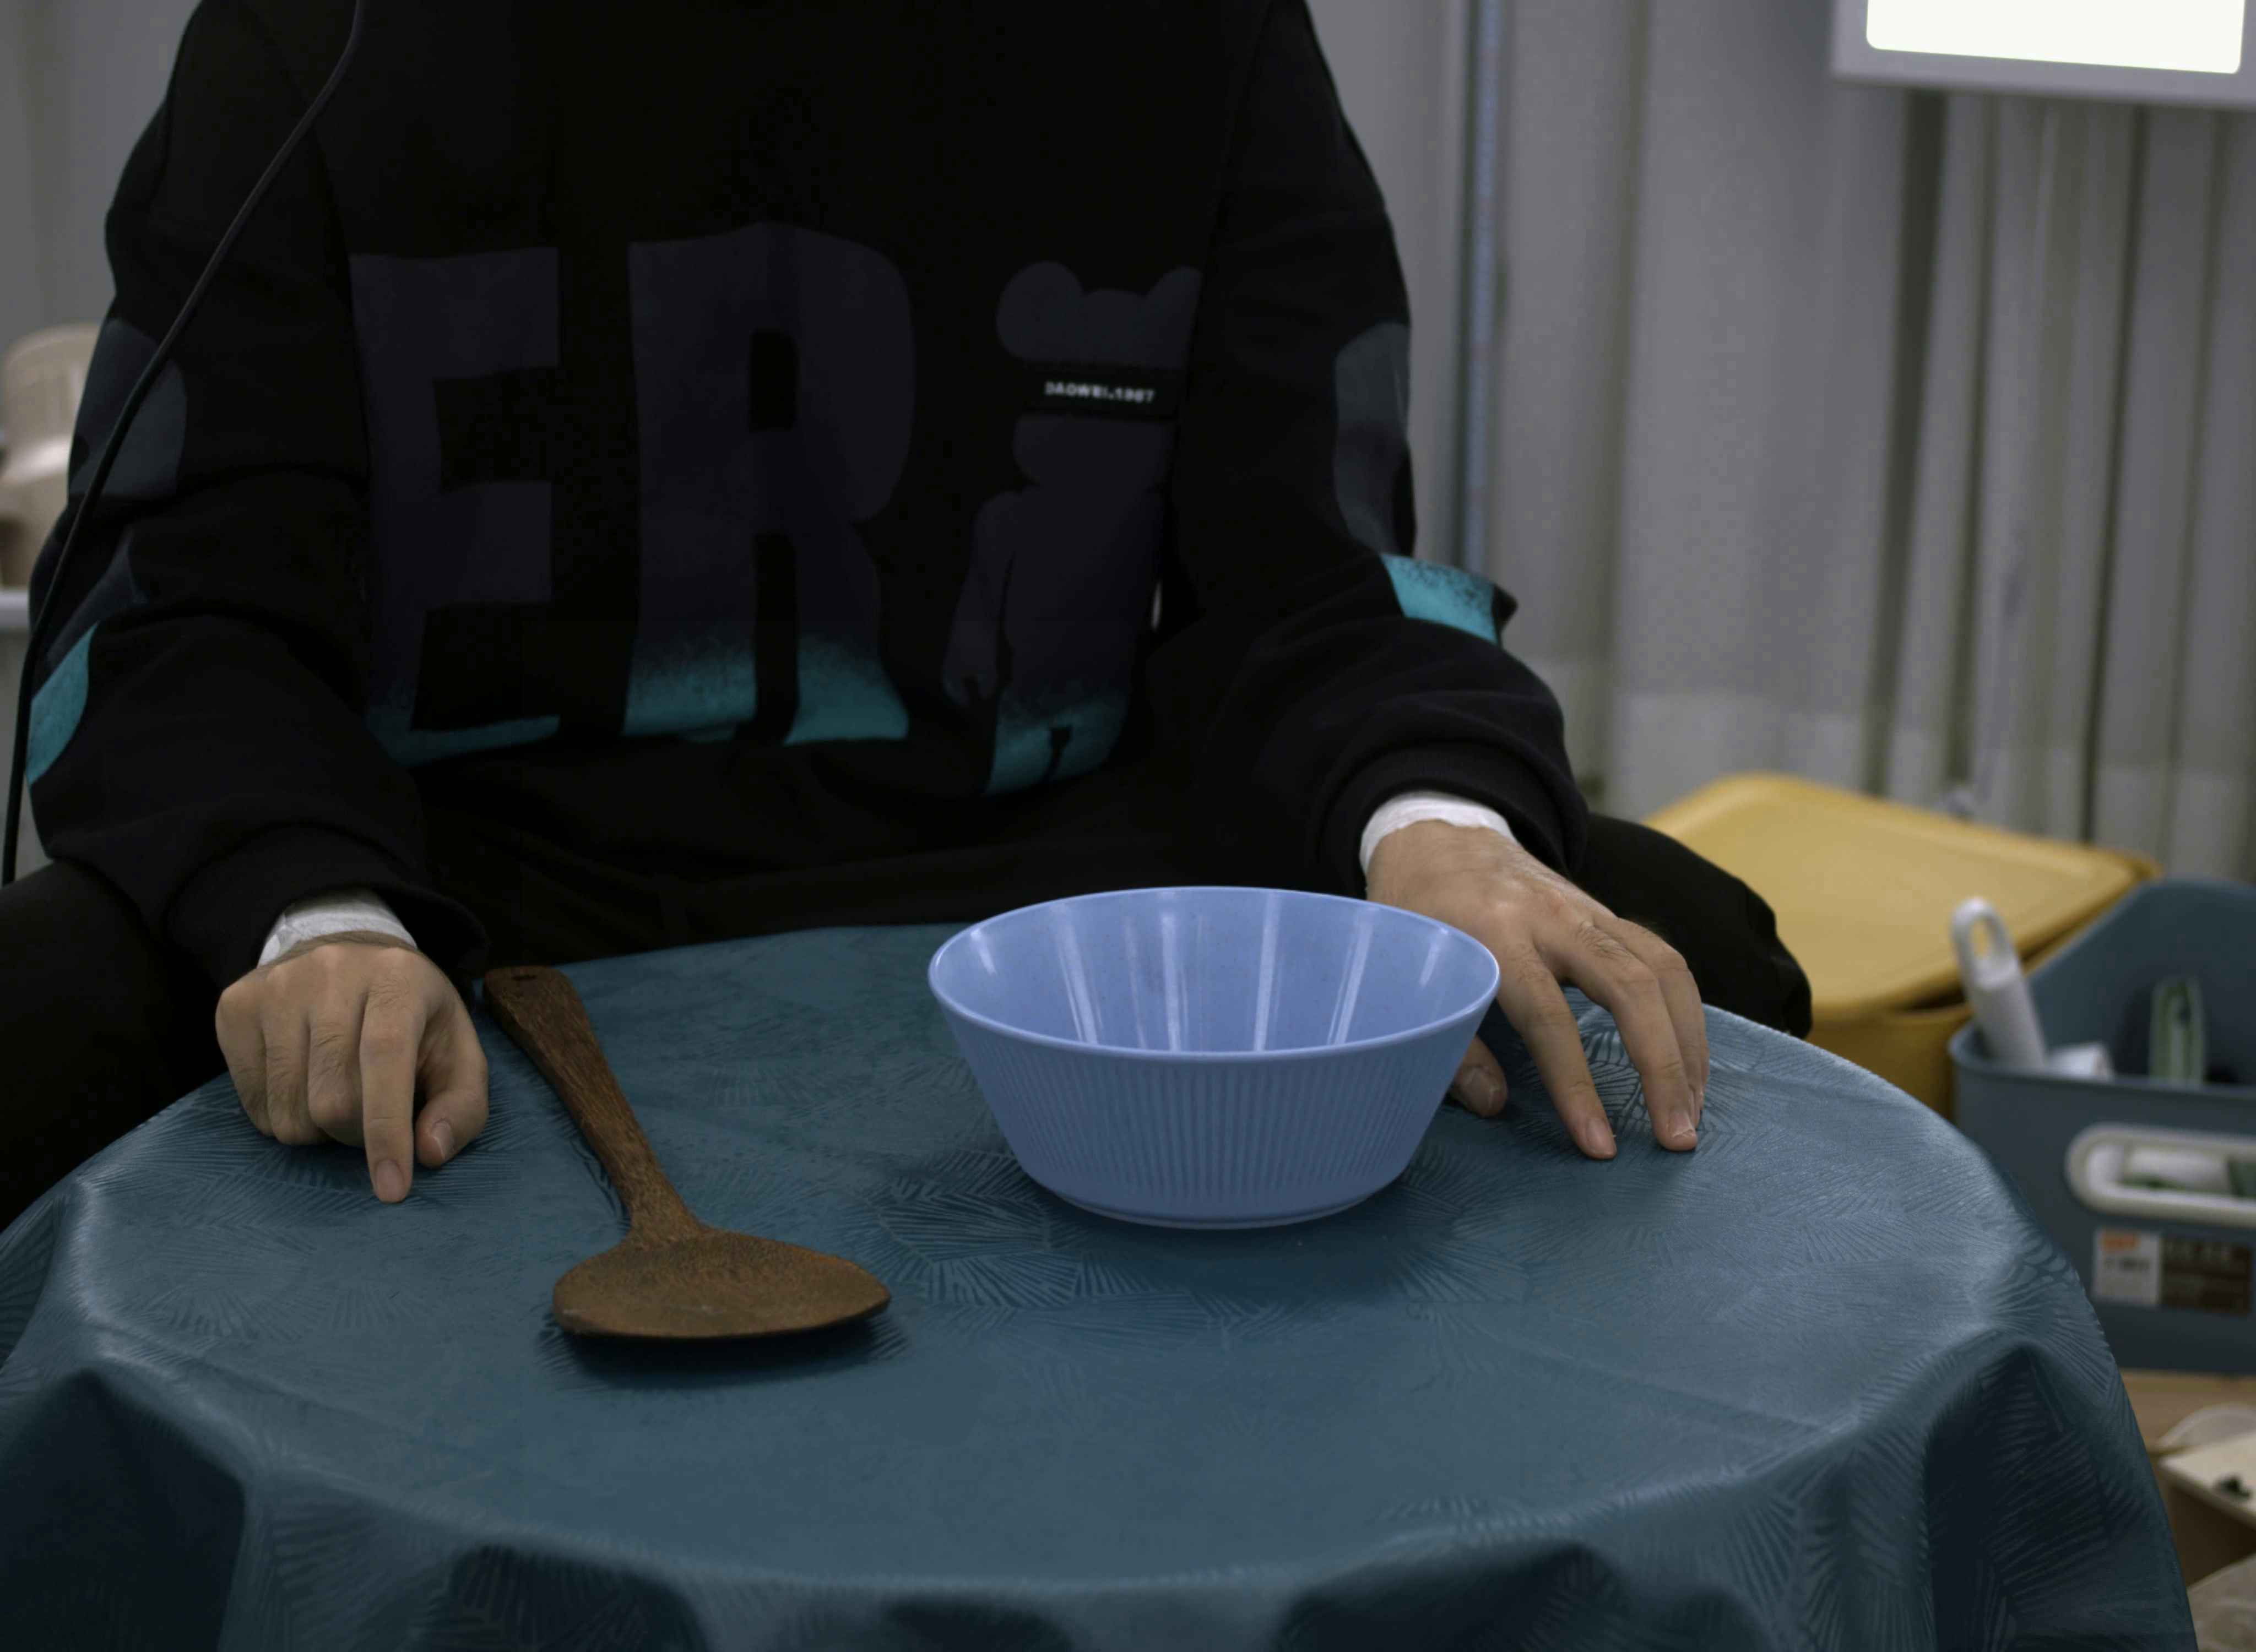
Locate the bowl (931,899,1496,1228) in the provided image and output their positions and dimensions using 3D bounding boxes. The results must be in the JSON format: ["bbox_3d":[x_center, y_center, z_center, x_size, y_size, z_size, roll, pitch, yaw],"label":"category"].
[{"bbox_3d":[0.026,0.075,1.632,0.175,0.071,0.175,1,15,0],"label":"bowl"}]

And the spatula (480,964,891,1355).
[{"bbox_3d":[-0.160,0.098,1.647,0.096,0.016,0.382,-3,16,-16],"label":"spatula"}]
